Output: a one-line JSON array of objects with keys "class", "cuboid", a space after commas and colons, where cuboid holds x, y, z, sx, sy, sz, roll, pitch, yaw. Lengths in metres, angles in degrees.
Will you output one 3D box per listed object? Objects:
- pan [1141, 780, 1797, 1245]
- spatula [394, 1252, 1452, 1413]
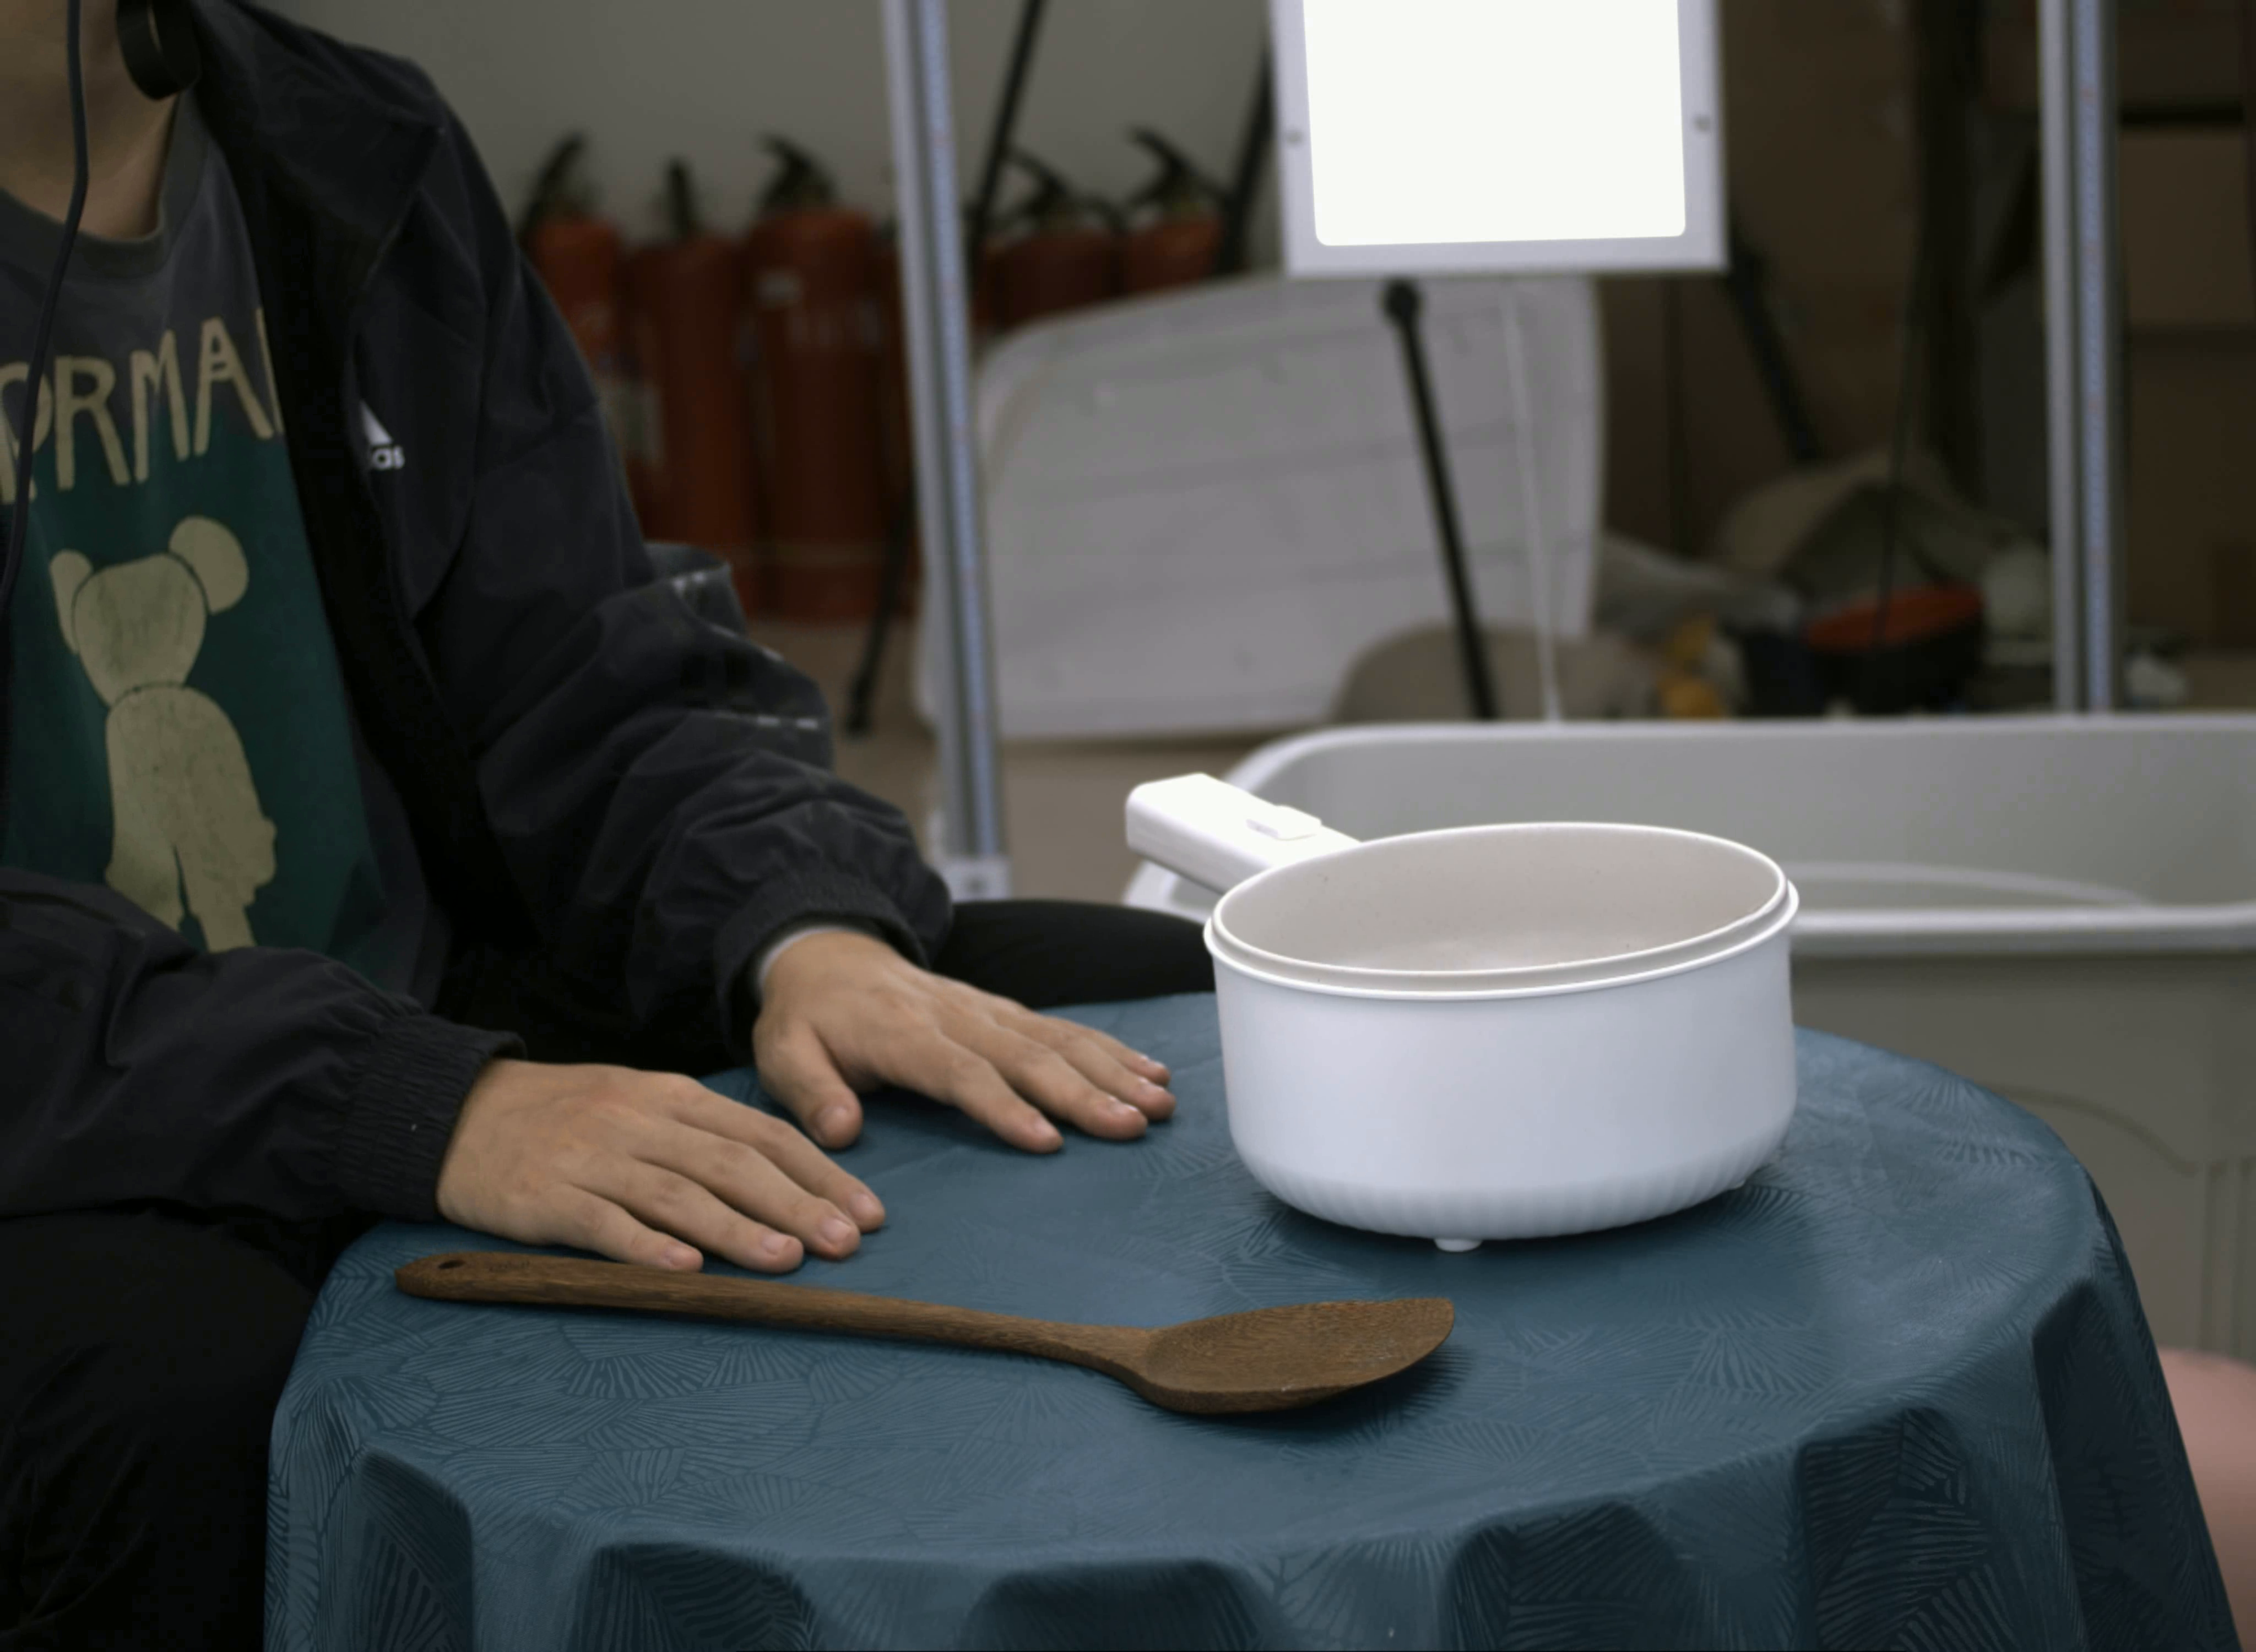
[{"class": "pan", "cuboid": [0.097, 0.058, 1.932, 0.197, 0.102, 0.360, -11, 13, -23]}, {"class": "spatula", "cuboid": [-0.078, 0.157, 1.770, 0.393, 0.016, 0.094, 2, 15, 30]}]
